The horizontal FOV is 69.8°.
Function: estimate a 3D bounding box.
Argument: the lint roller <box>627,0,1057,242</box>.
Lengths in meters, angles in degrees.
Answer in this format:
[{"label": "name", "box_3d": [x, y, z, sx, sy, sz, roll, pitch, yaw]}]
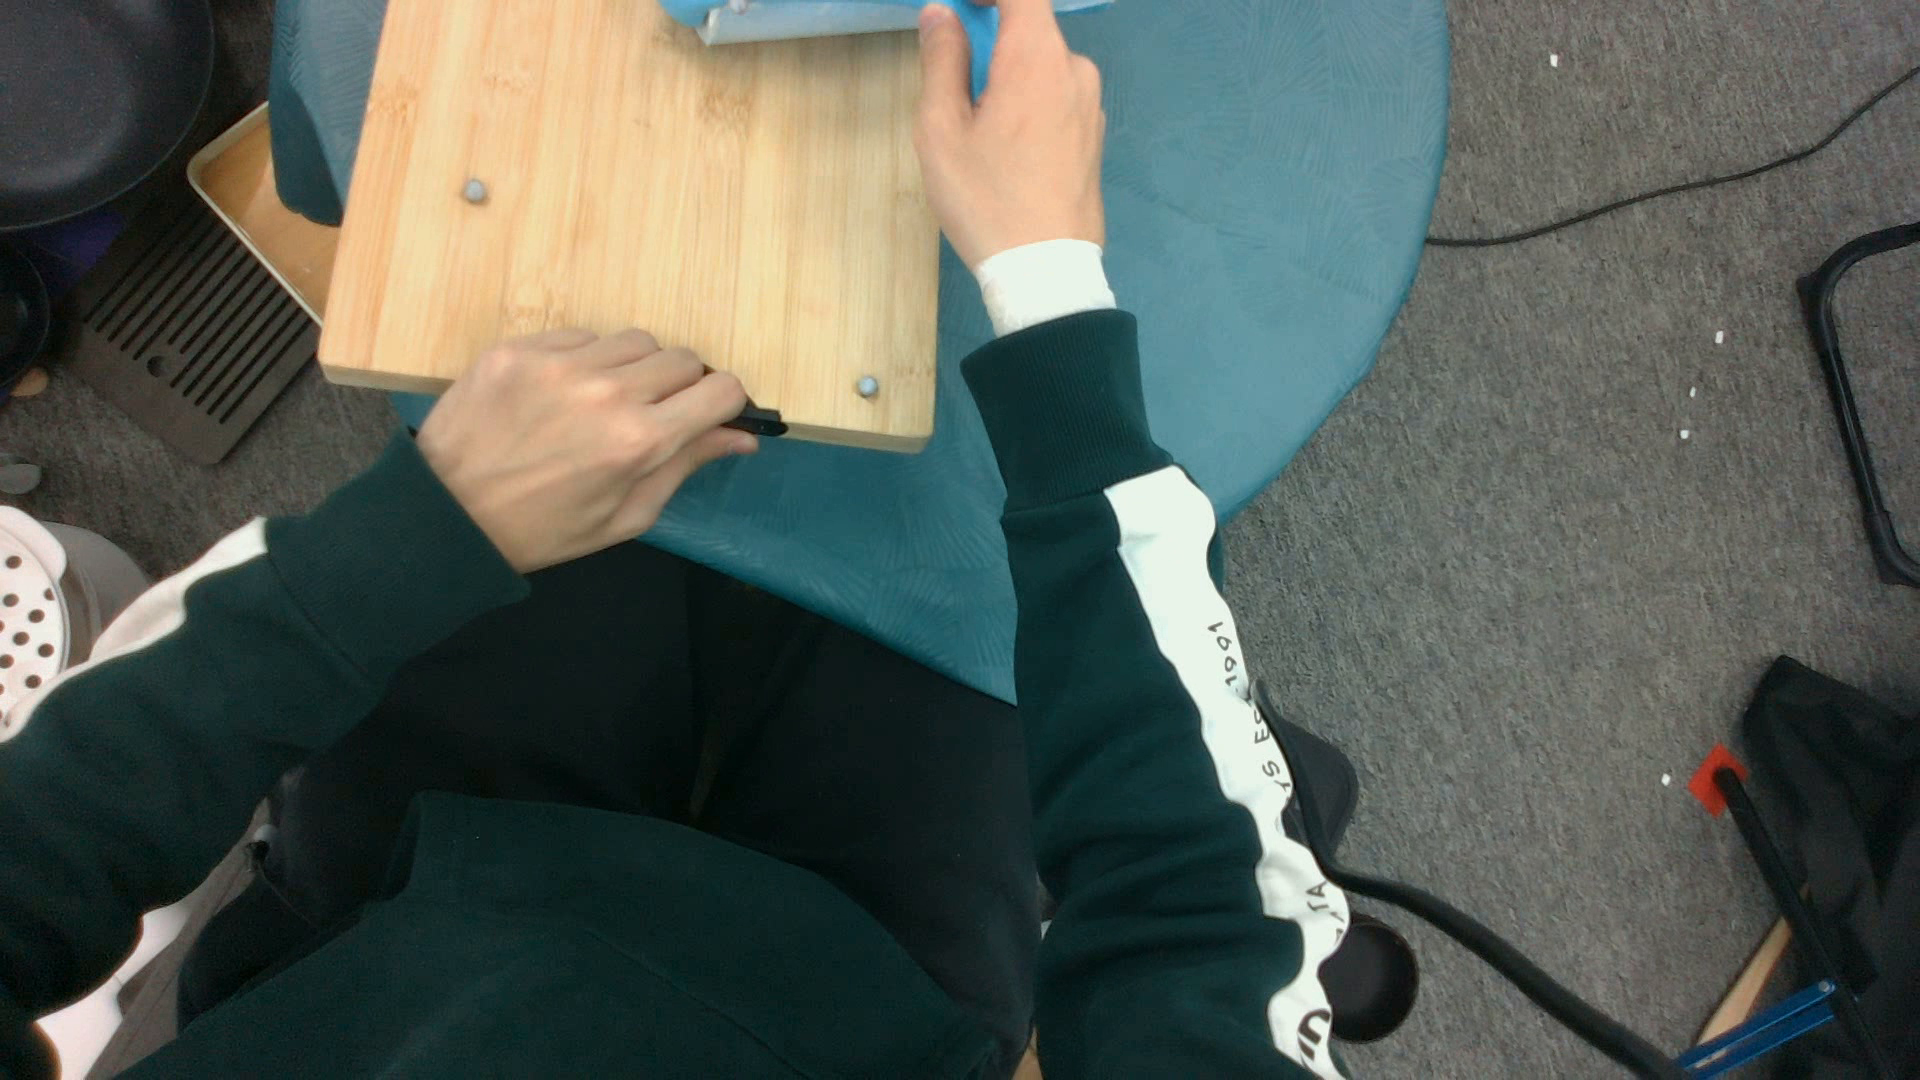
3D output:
[{"label": "lint roller", "box_3d": [-0.014, -0.216, 0.598, 0.229, 0.067, 0.180, -16, 62, -23]}]

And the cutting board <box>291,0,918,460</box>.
[{"label": "cutting board", "box_3d": [-0.139, -0.207, 0.615, 0.251, 0.023, 0.349, 3, 69, -15]}]
